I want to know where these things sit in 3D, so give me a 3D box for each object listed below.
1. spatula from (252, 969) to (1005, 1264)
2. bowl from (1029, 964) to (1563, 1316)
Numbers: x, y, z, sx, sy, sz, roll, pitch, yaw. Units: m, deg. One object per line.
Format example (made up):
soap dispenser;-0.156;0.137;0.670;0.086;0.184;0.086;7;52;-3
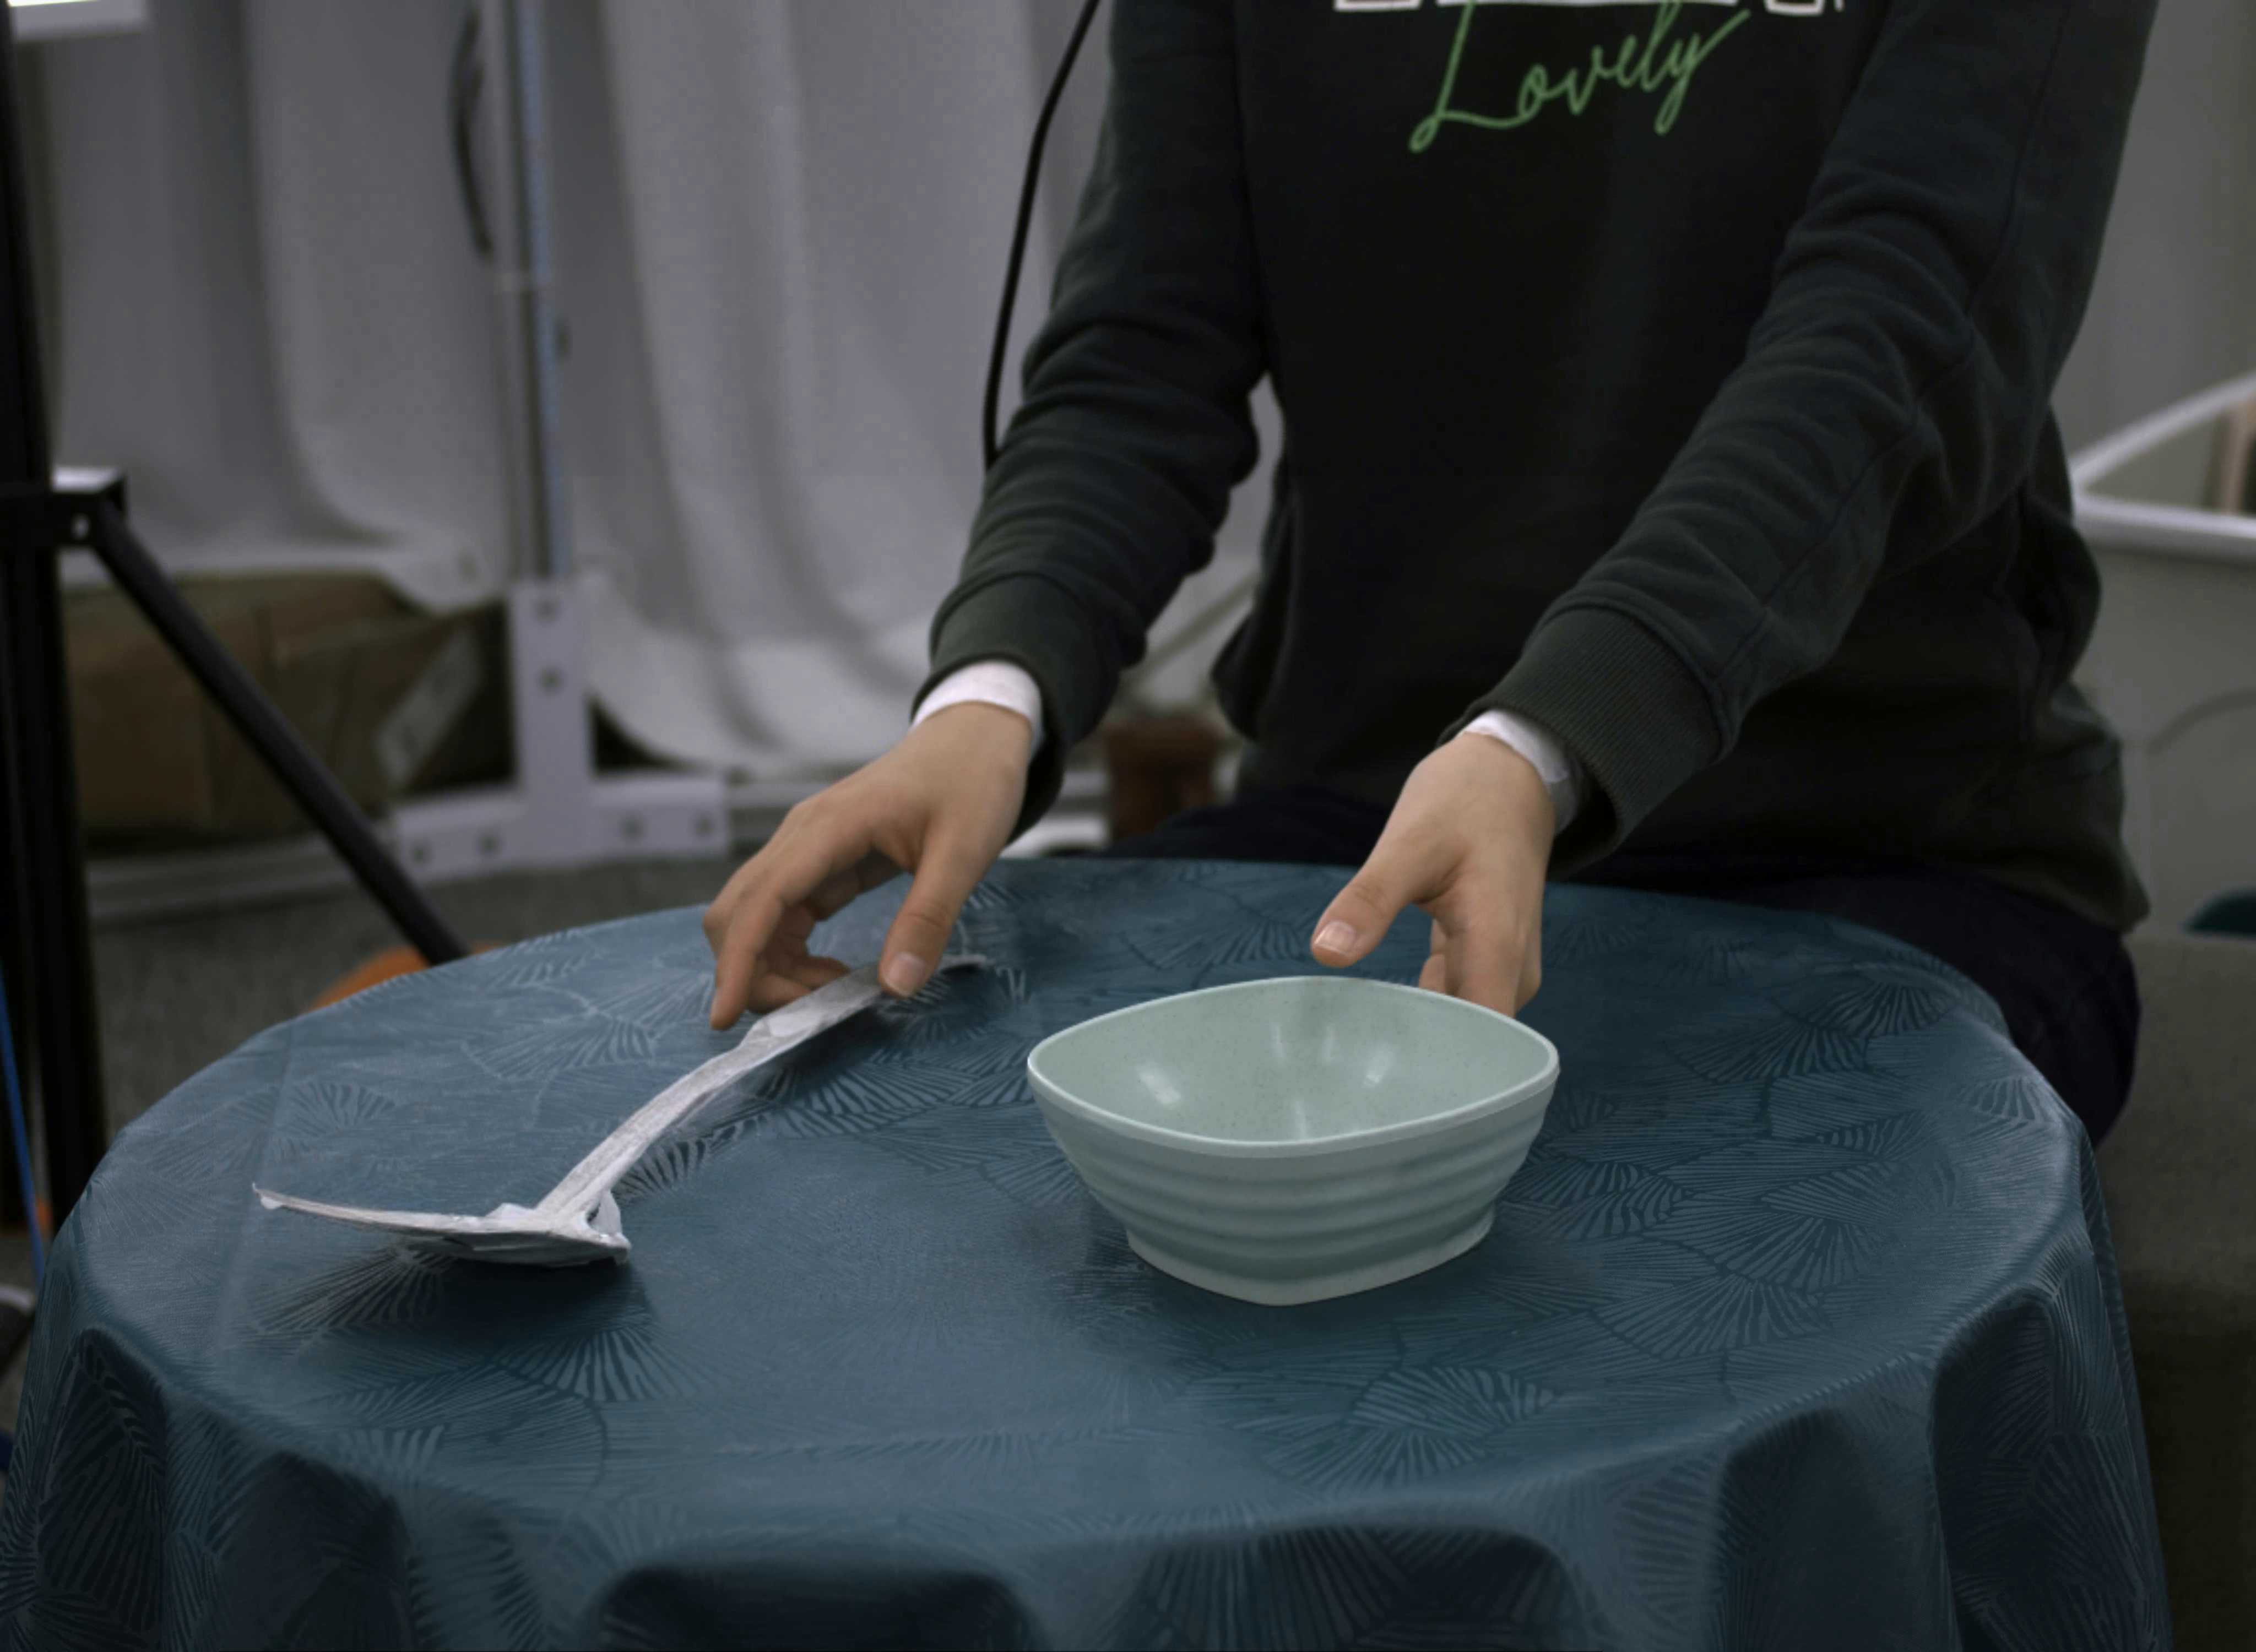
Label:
spatula;-0.129;0.078;1.615;0.100;0.045;0.359;3;17;26
bowl;0.048;0.093;1.502;0.150;0.058;0.152;-2;19;-1
